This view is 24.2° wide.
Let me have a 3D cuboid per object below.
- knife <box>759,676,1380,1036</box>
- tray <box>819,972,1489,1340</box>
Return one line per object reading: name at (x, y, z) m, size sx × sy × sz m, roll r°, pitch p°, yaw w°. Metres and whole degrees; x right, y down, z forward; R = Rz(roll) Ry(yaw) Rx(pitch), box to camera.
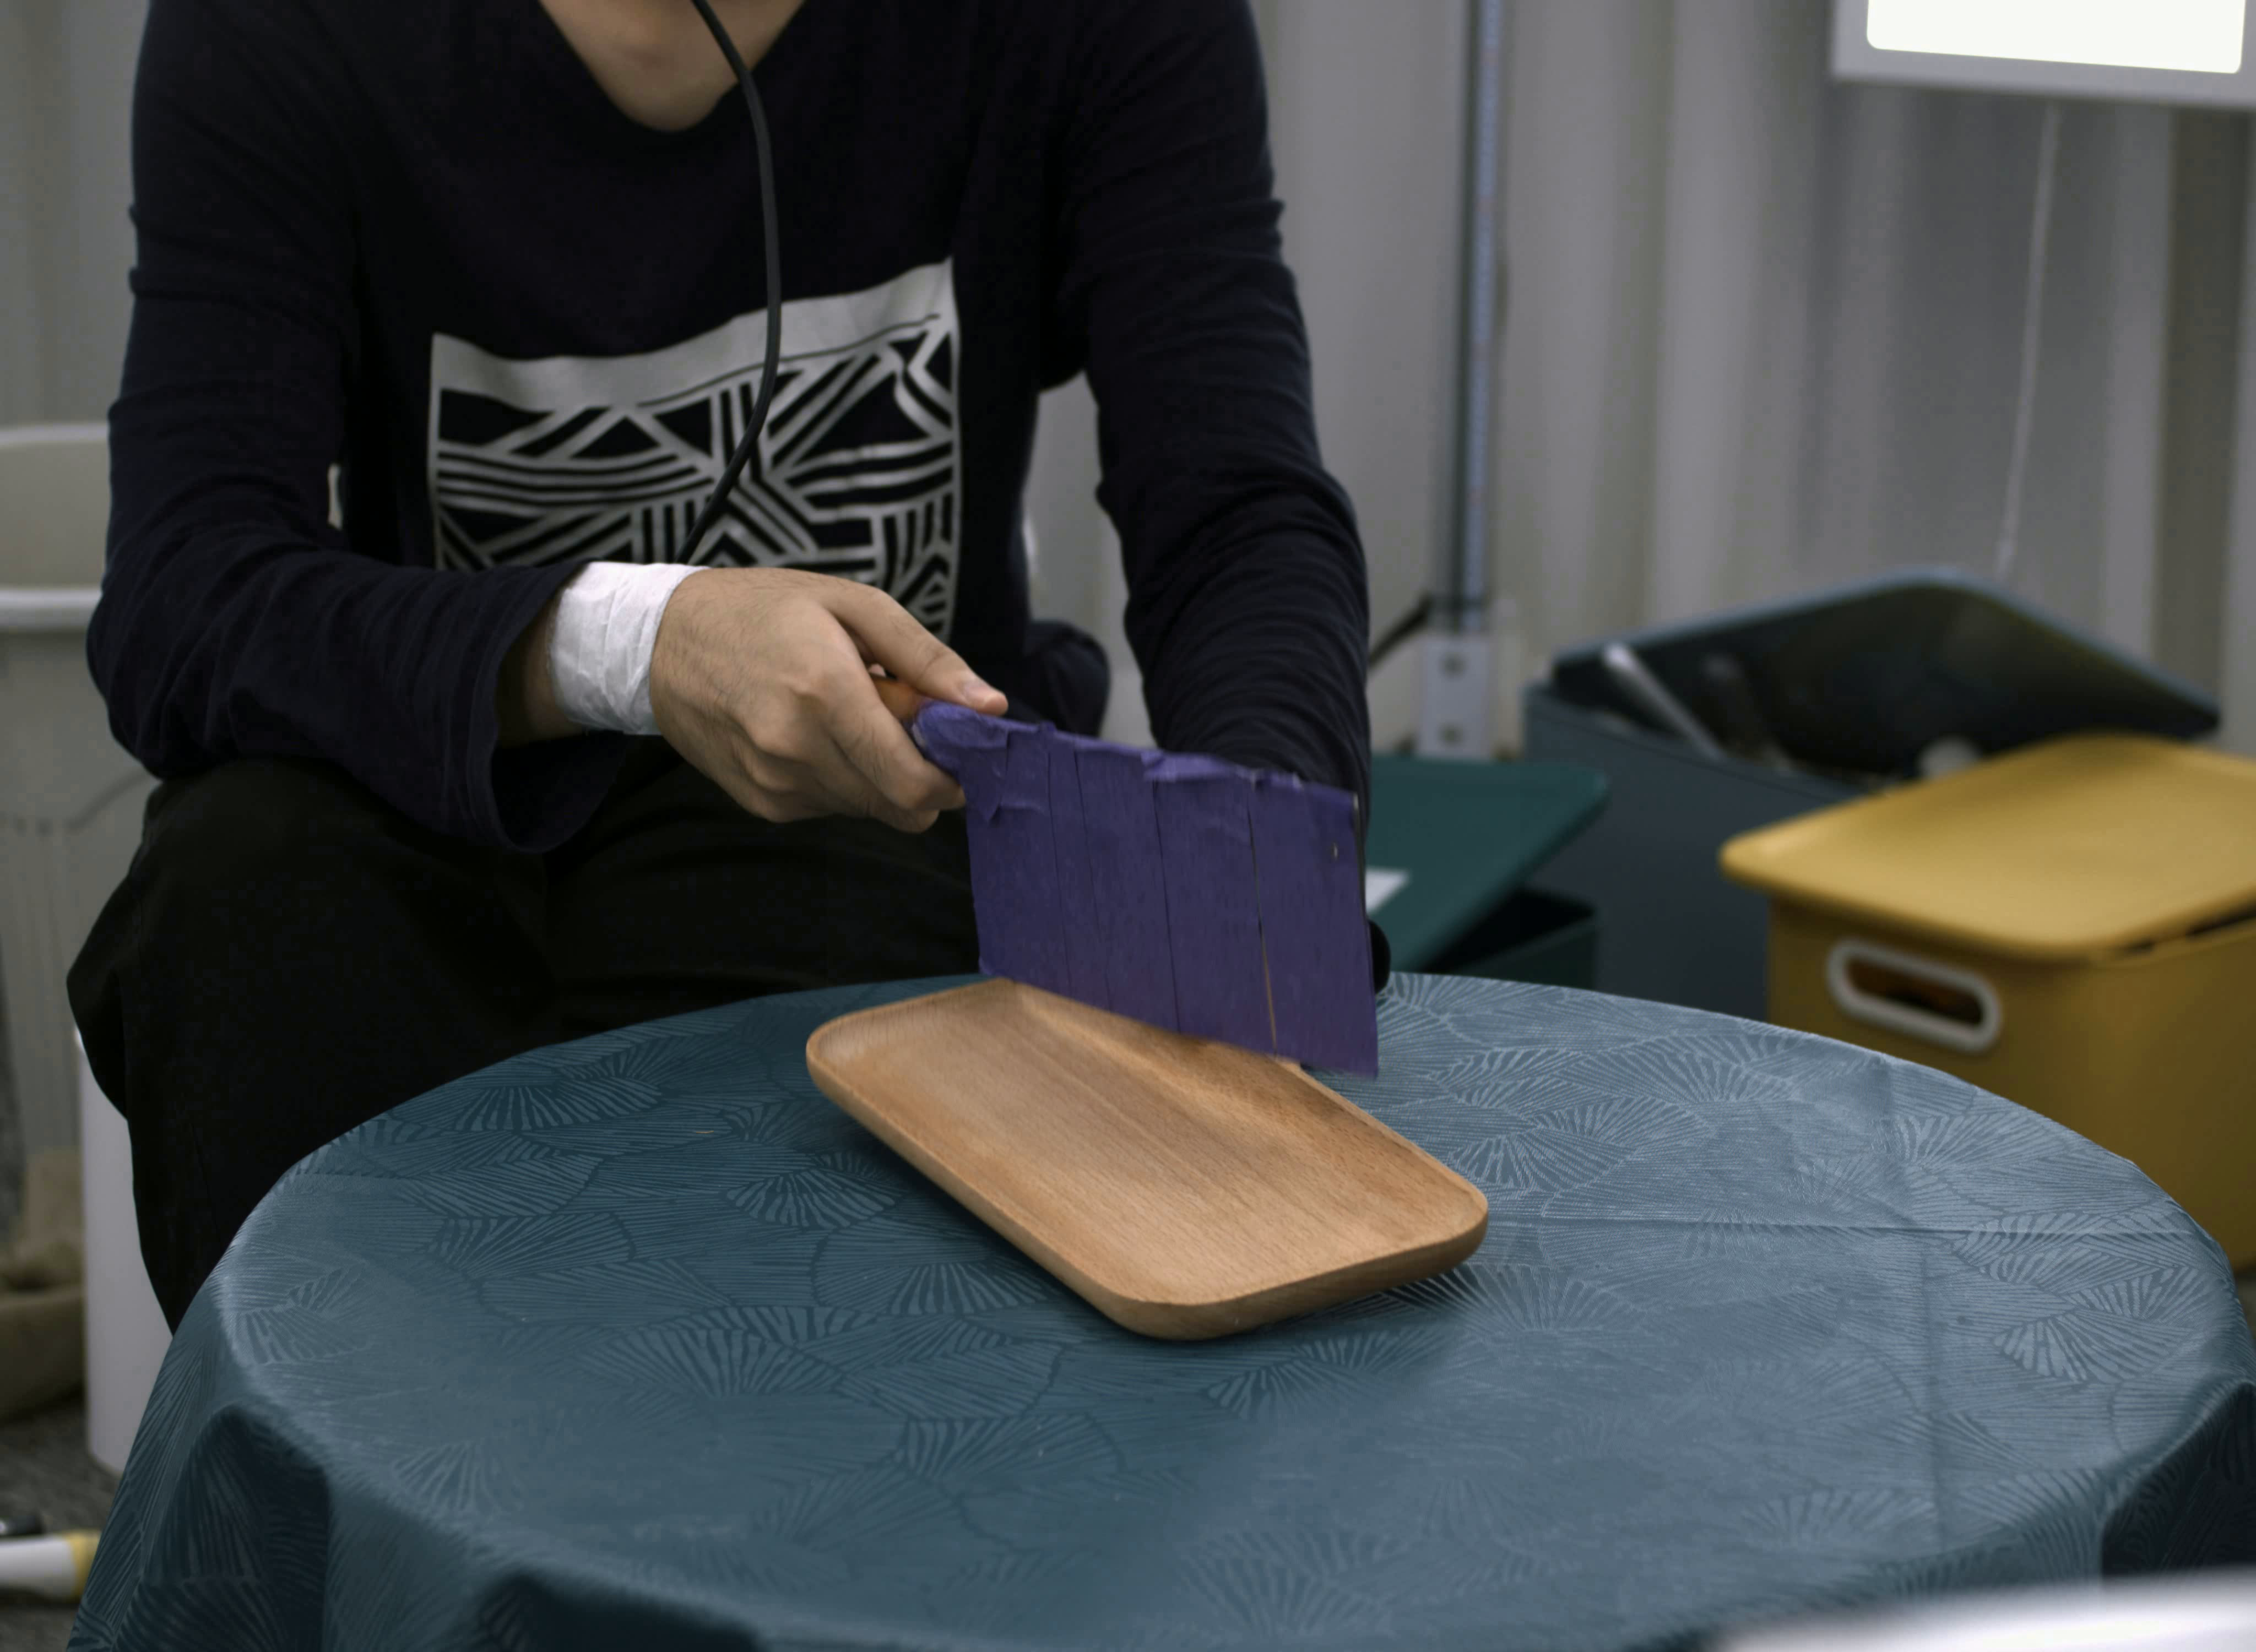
knife at (-0.024, 0.009, 1.674) m, size 0.032 × 0.104 × 0.311 m, roll -13°, pitch 14°, yaw -33°
tray at (0.004, 0.095, 1.612) m, size 0.131 × 0.023 × 0.247 m, roll -9°, pitch 21°, yaw -24°
